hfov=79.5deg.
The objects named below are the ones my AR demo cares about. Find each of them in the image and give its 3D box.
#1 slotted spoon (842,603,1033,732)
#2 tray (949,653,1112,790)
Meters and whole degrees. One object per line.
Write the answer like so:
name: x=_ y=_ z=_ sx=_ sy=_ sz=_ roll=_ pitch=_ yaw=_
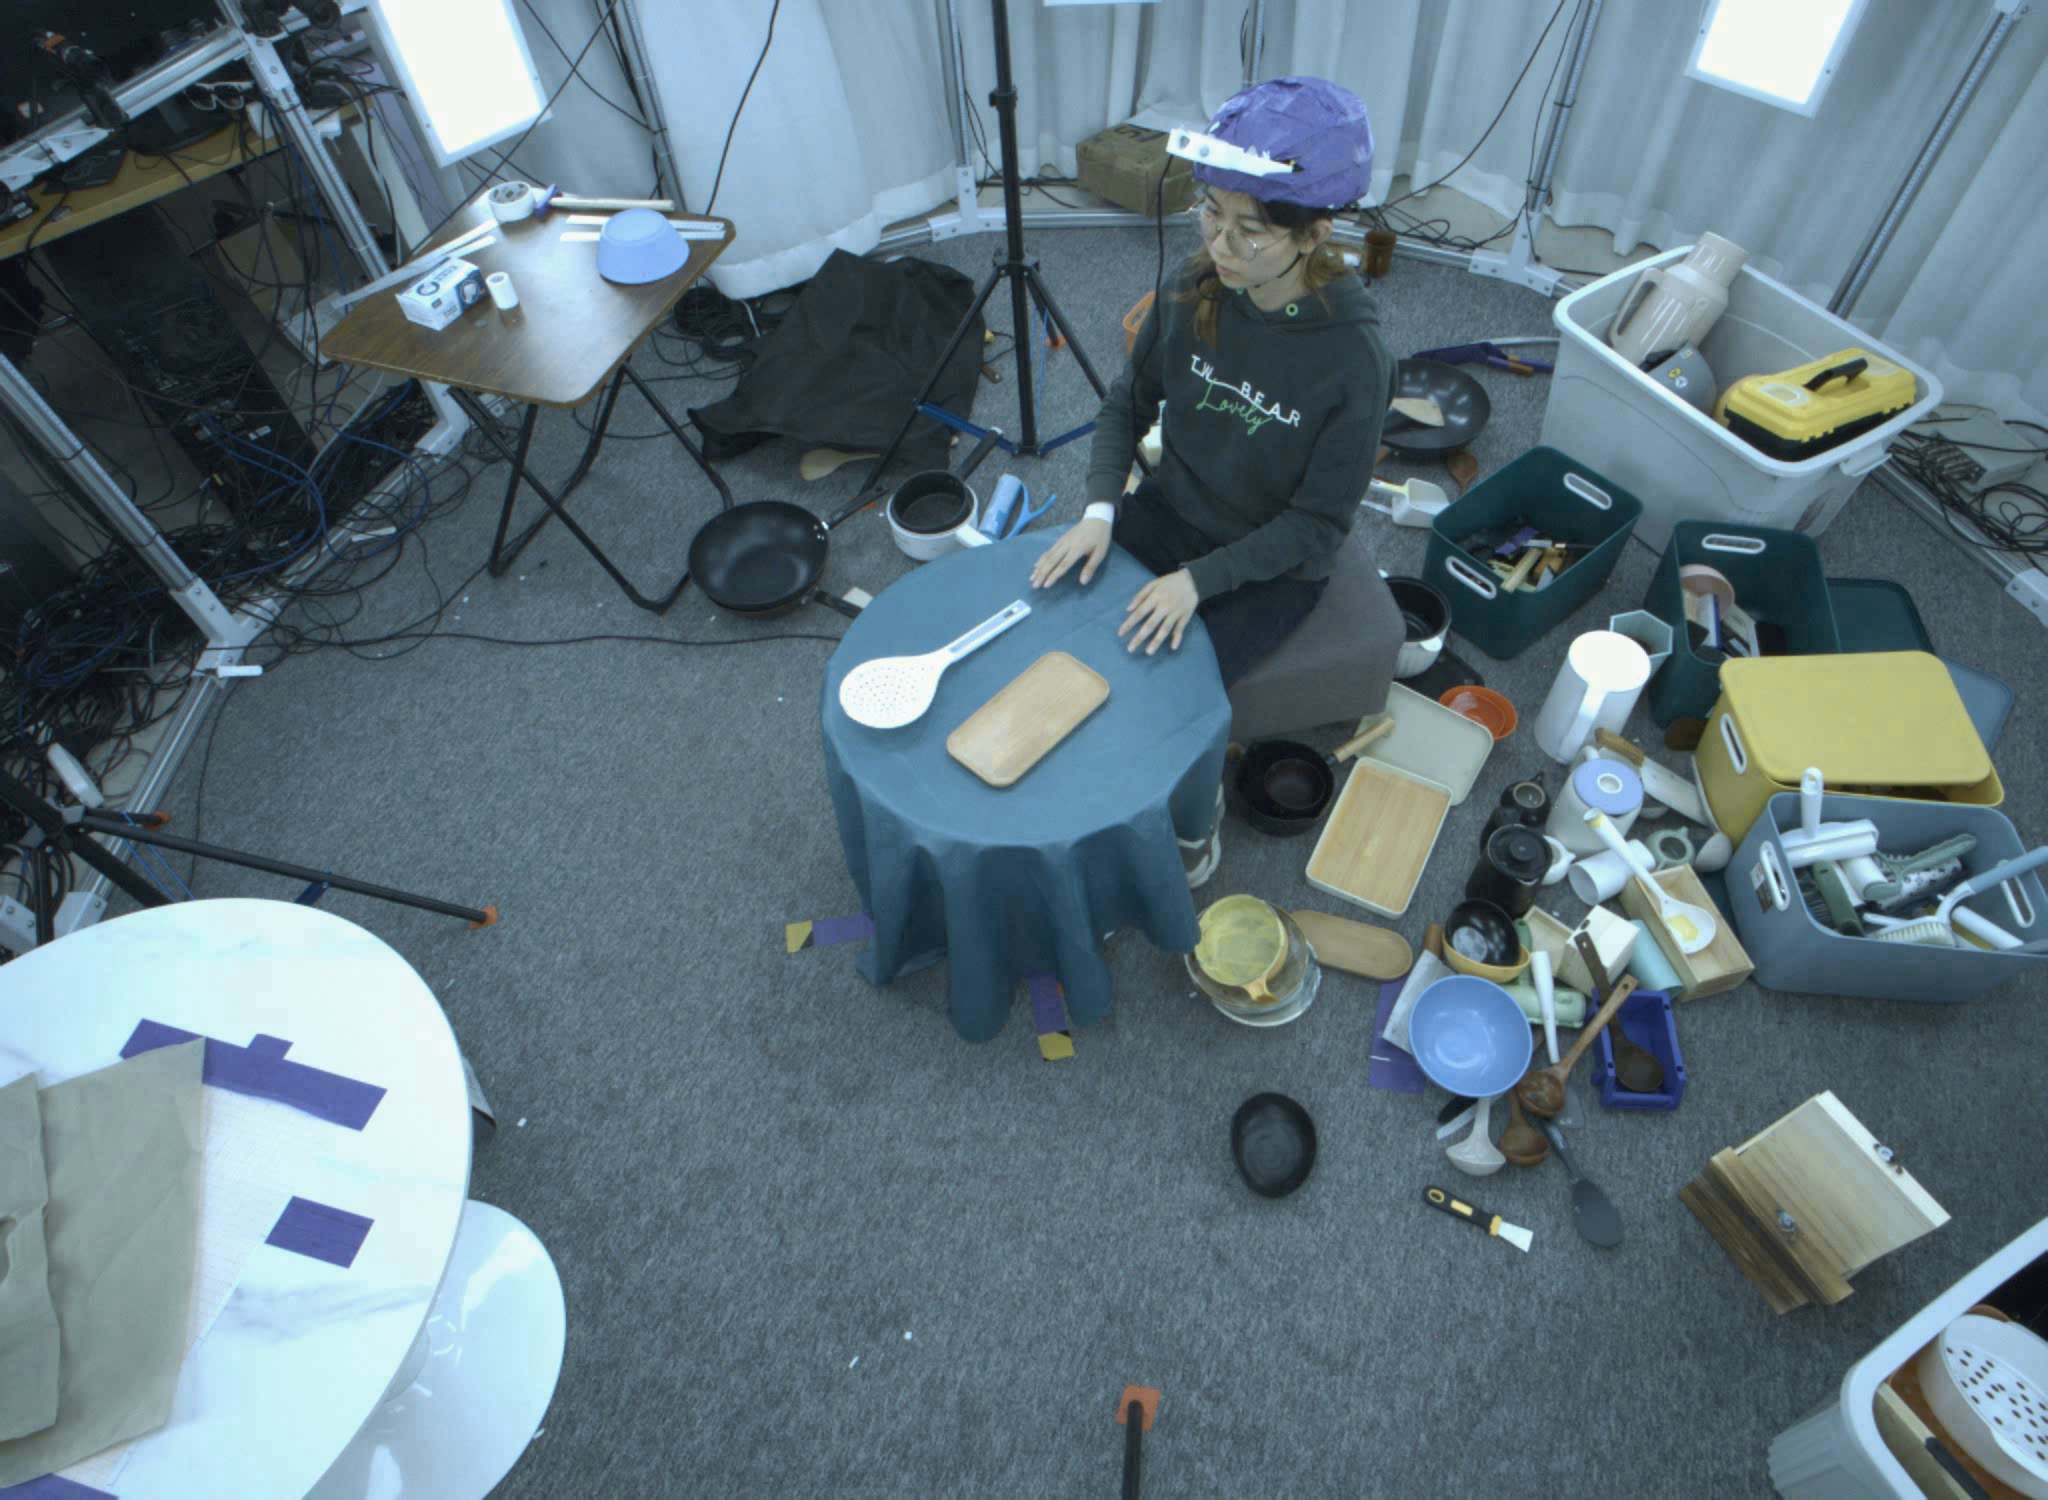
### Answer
slotted spoon: x=-0.123 y=-0.133 z=1.867 sx=0.352 sy=0.046 sz=0.134 roll=-38 pitch=64 yaw=-23
tray: x=0.011 y=-0.044 z=1.818 sx=0.128 sy=0.023 sz=0.252 roll=38 pitch=63 yaw=22
